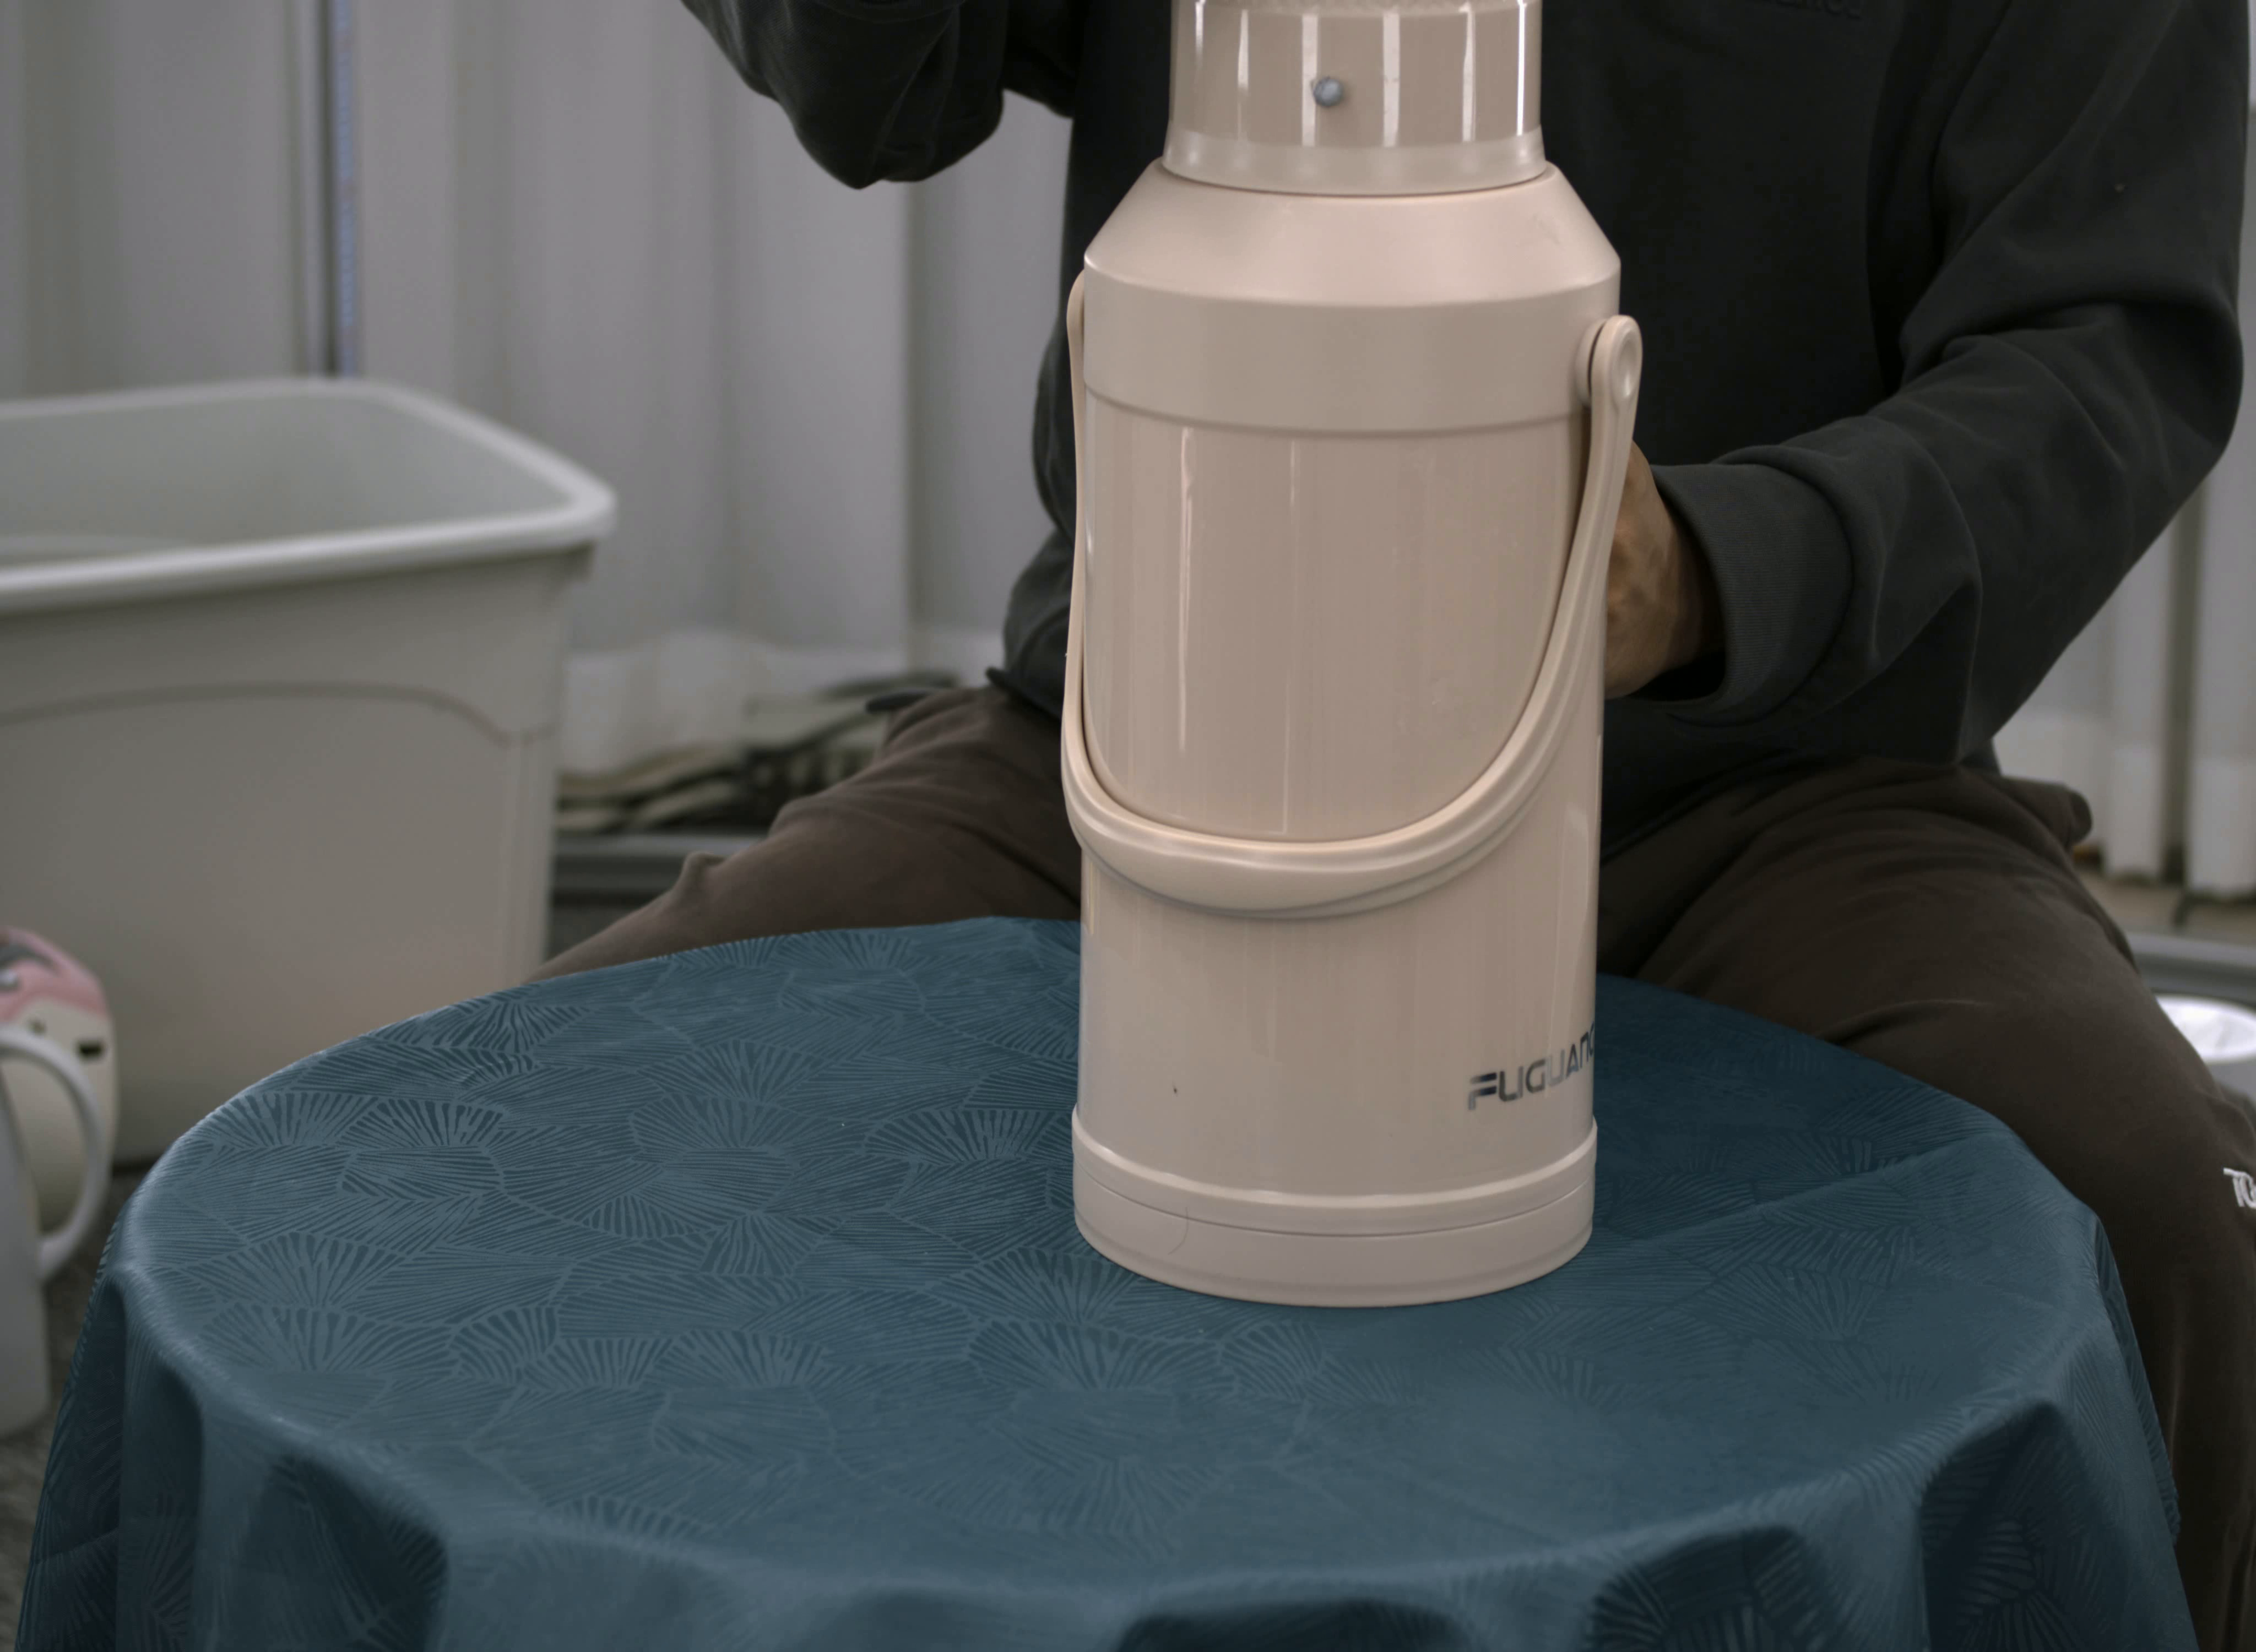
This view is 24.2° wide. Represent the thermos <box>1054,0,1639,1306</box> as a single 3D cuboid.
[{"bbox_3d":[0.070,-0.076,1.562,0.173,0.410,0.207,8,18,26],"label":"thermos"}]
